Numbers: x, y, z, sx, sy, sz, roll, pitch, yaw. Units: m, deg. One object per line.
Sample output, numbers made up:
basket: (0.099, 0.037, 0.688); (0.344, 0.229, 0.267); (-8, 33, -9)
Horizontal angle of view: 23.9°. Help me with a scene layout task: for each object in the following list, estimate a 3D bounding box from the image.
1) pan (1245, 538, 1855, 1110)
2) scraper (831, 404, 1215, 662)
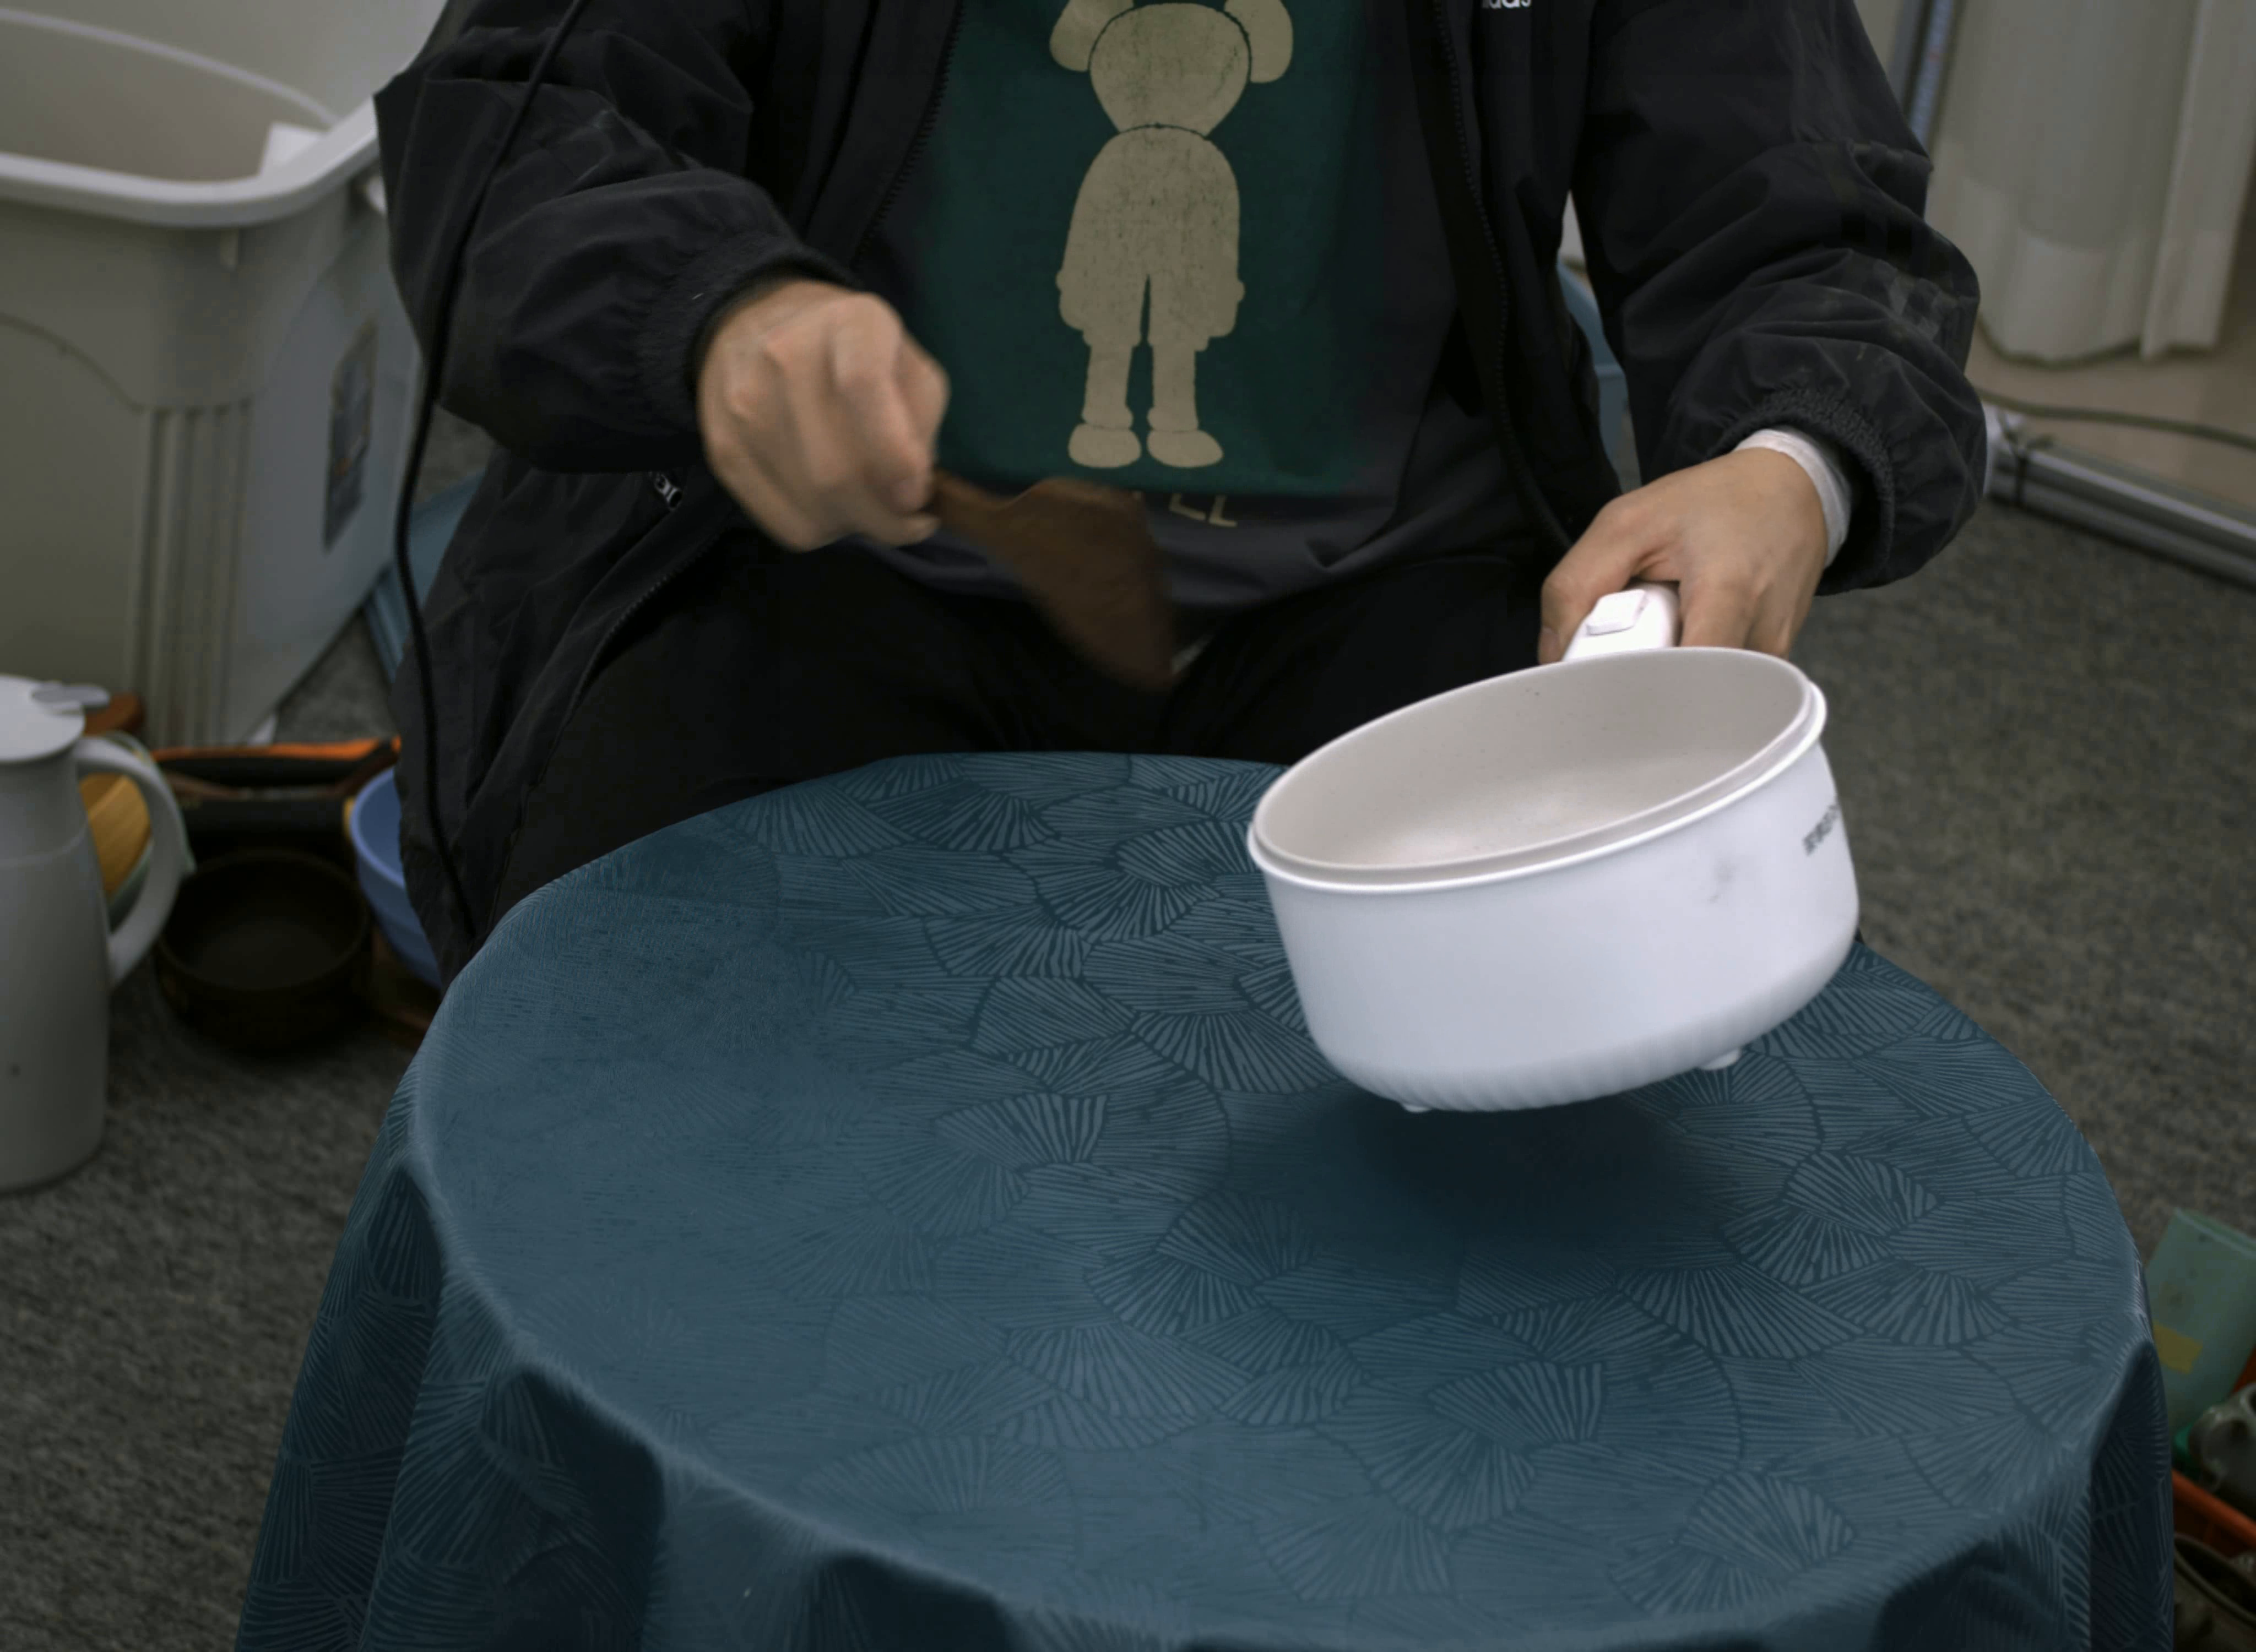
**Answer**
pan: (0.168, -0.004, 1.884); (0.201, 0.102, 0.355); (-10, 16, 20)
scraper: (-0.042, -0.110, 1.825); (0.011, 0.075, 0.213); (-34, 34, -23)
